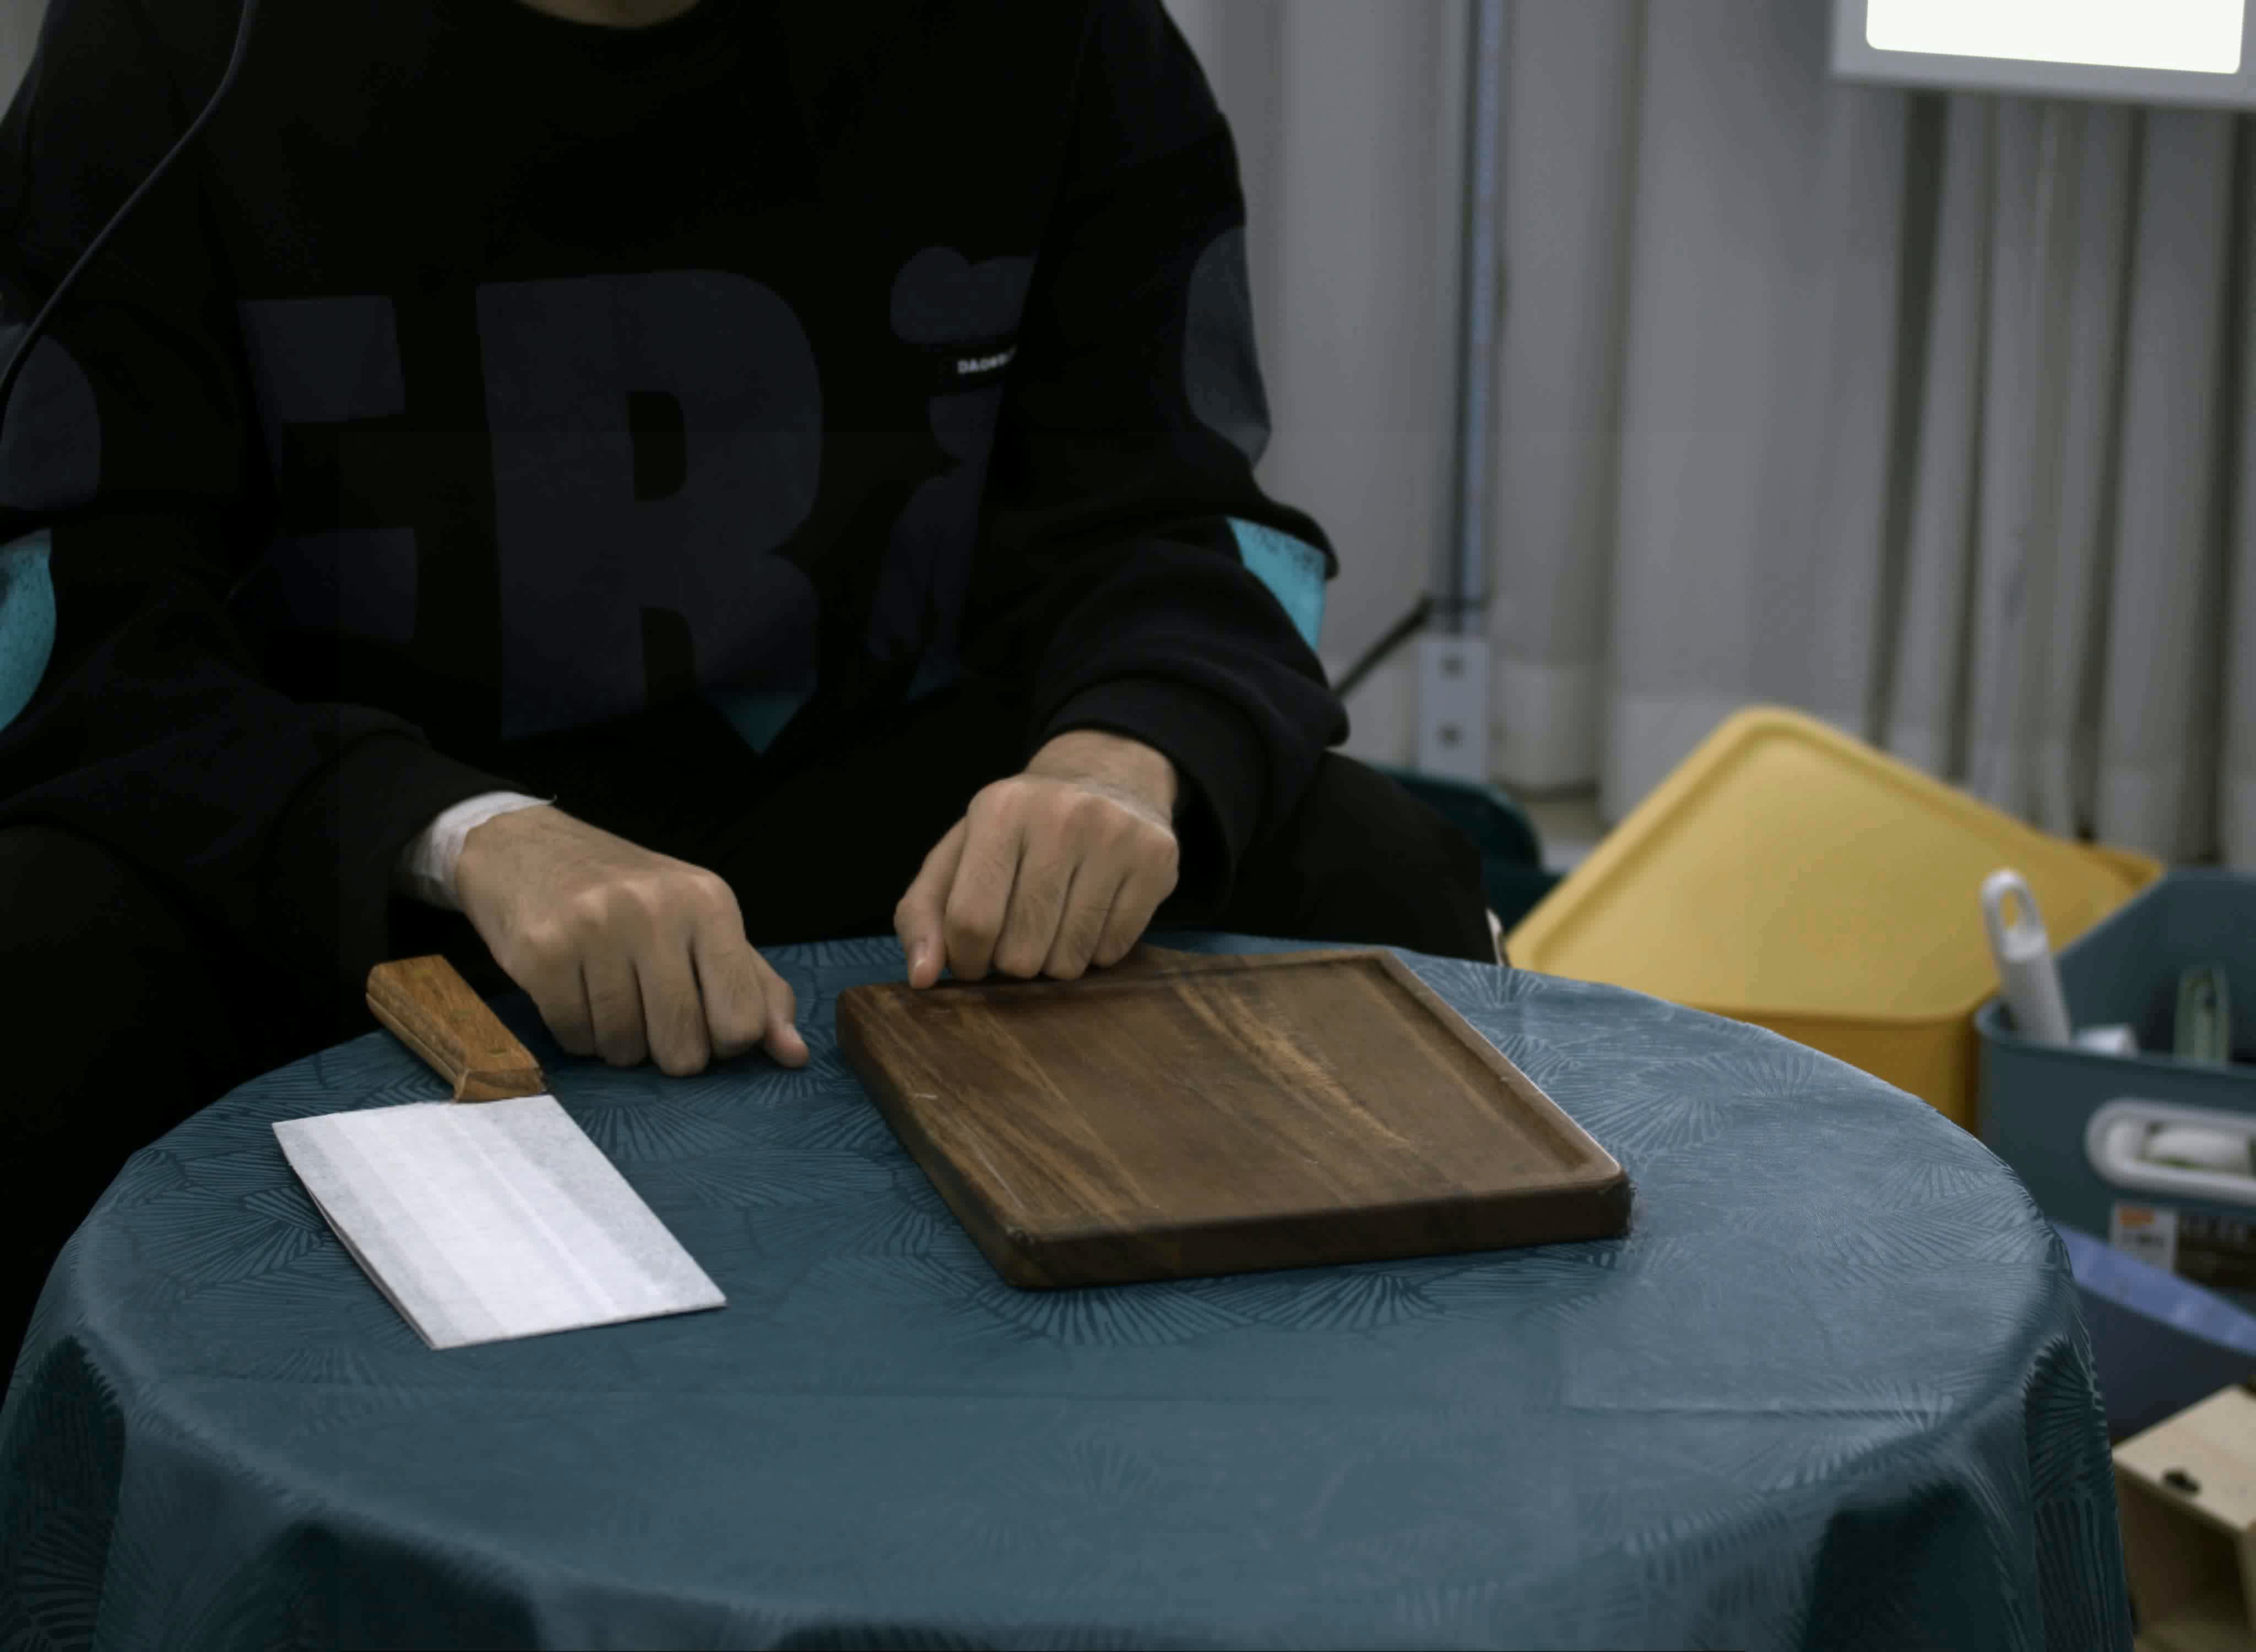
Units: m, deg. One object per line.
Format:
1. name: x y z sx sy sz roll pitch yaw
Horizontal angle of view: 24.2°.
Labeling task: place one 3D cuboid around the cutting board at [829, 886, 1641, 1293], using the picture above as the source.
1. cutting board: 0.015 0.076 1.715 0.201 0.023 0.348 -4 16 -16

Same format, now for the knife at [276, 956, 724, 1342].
1. knife: -0.212 0.099 1.636 0.093 0.021 0.302 -8 20 -21
